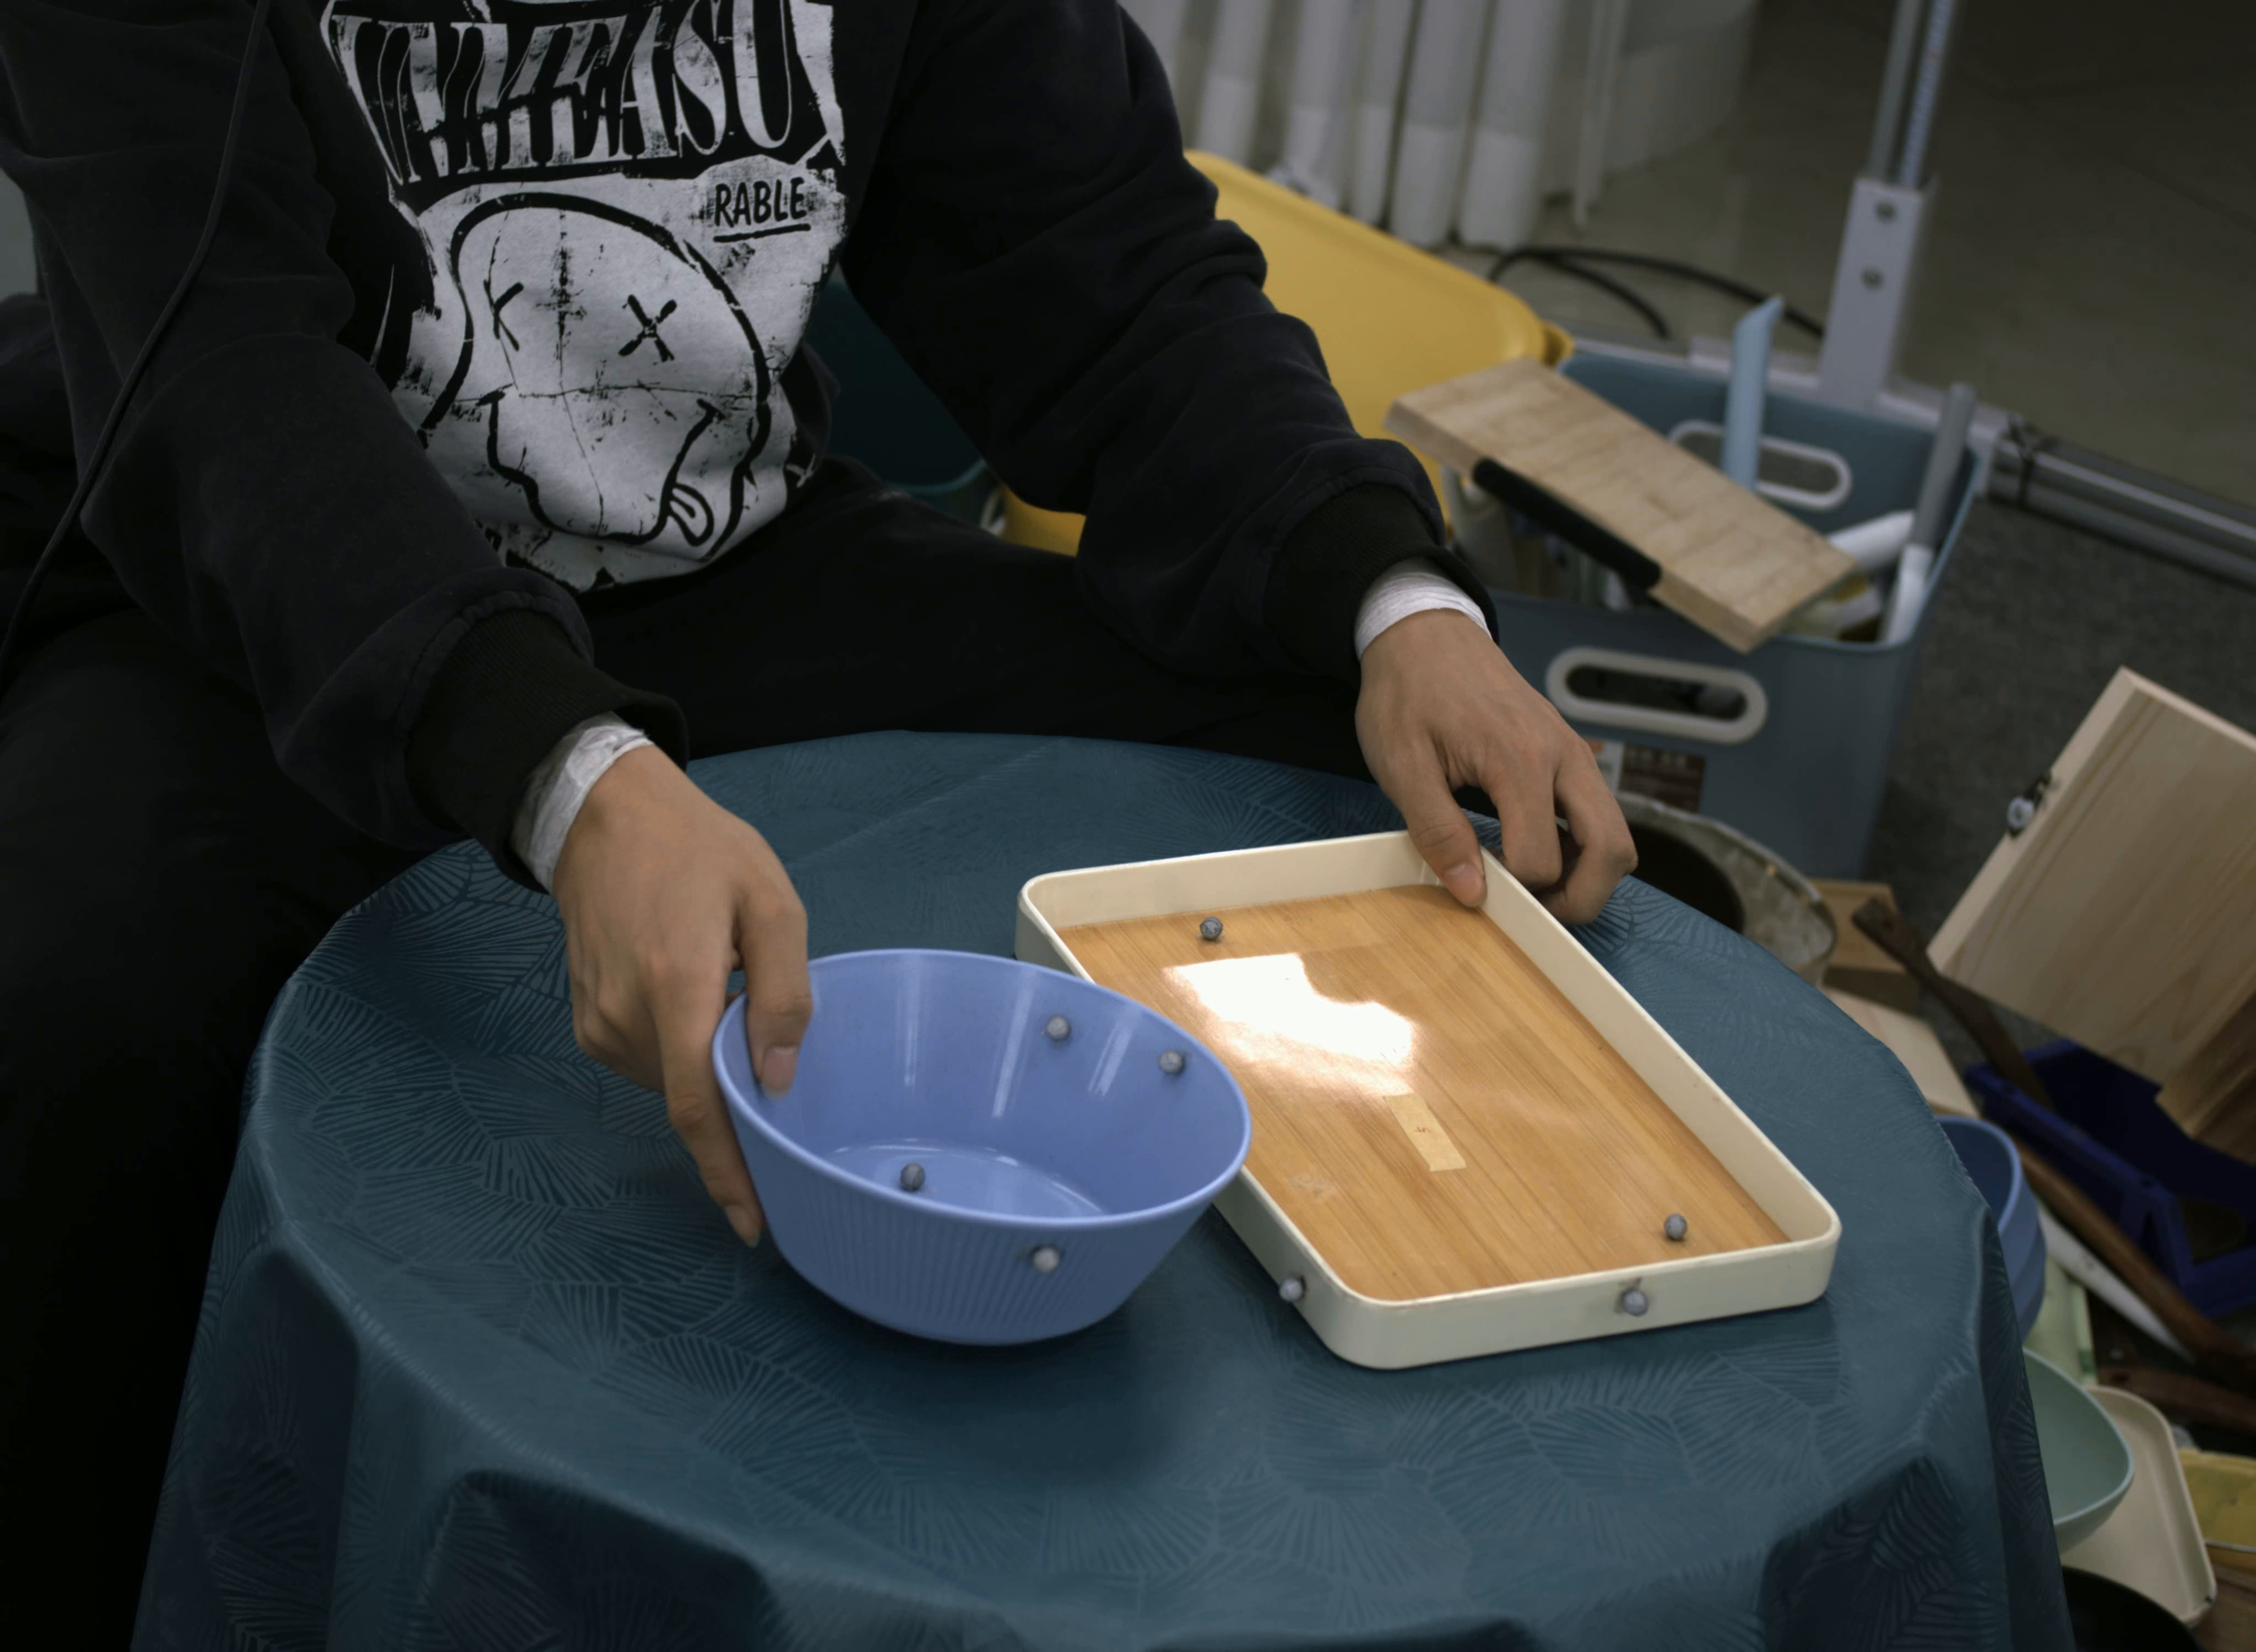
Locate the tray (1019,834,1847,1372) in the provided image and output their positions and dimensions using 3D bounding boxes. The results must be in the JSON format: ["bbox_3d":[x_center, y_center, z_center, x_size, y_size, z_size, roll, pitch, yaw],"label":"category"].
[{"bbox_3d":[0.100,0.090,1.859,0.190,0.027,0.303,-6,30,-23],"label":"tray"}]

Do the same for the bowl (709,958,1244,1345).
[{"bbox_3d":[-0.054,0.111,1.722,0.175,0.070,0.177,10,24,-5],"label":"bowl"}]
